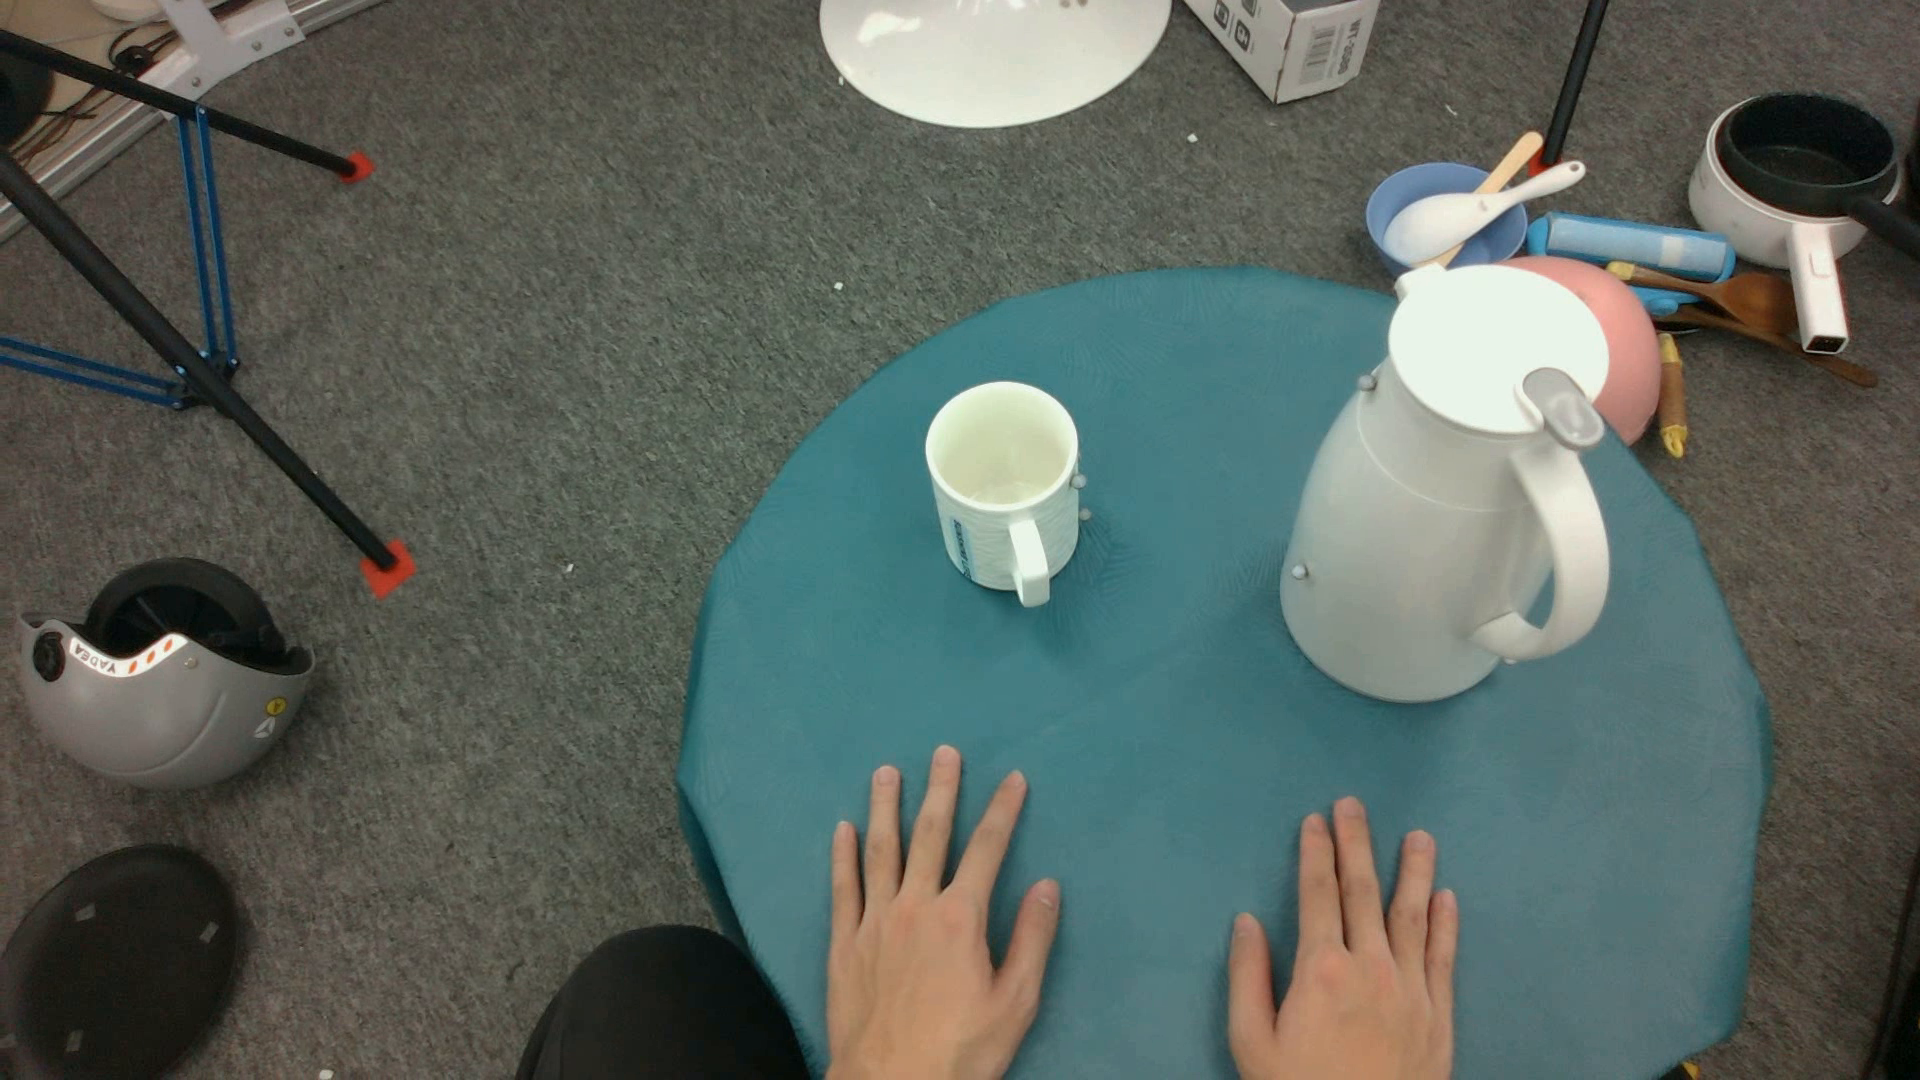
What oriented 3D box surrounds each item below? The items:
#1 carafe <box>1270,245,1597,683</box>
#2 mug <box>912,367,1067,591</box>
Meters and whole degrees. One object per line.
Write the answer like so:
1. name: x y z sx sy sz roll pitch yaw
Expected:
1. carafe: 0.247 -0.022 0.694 0.132 0.247 0.168 -23 61 -8
2. mug: 0.024 -0.024 0.798 0.085 0.101 0.118 -16 60 -3
